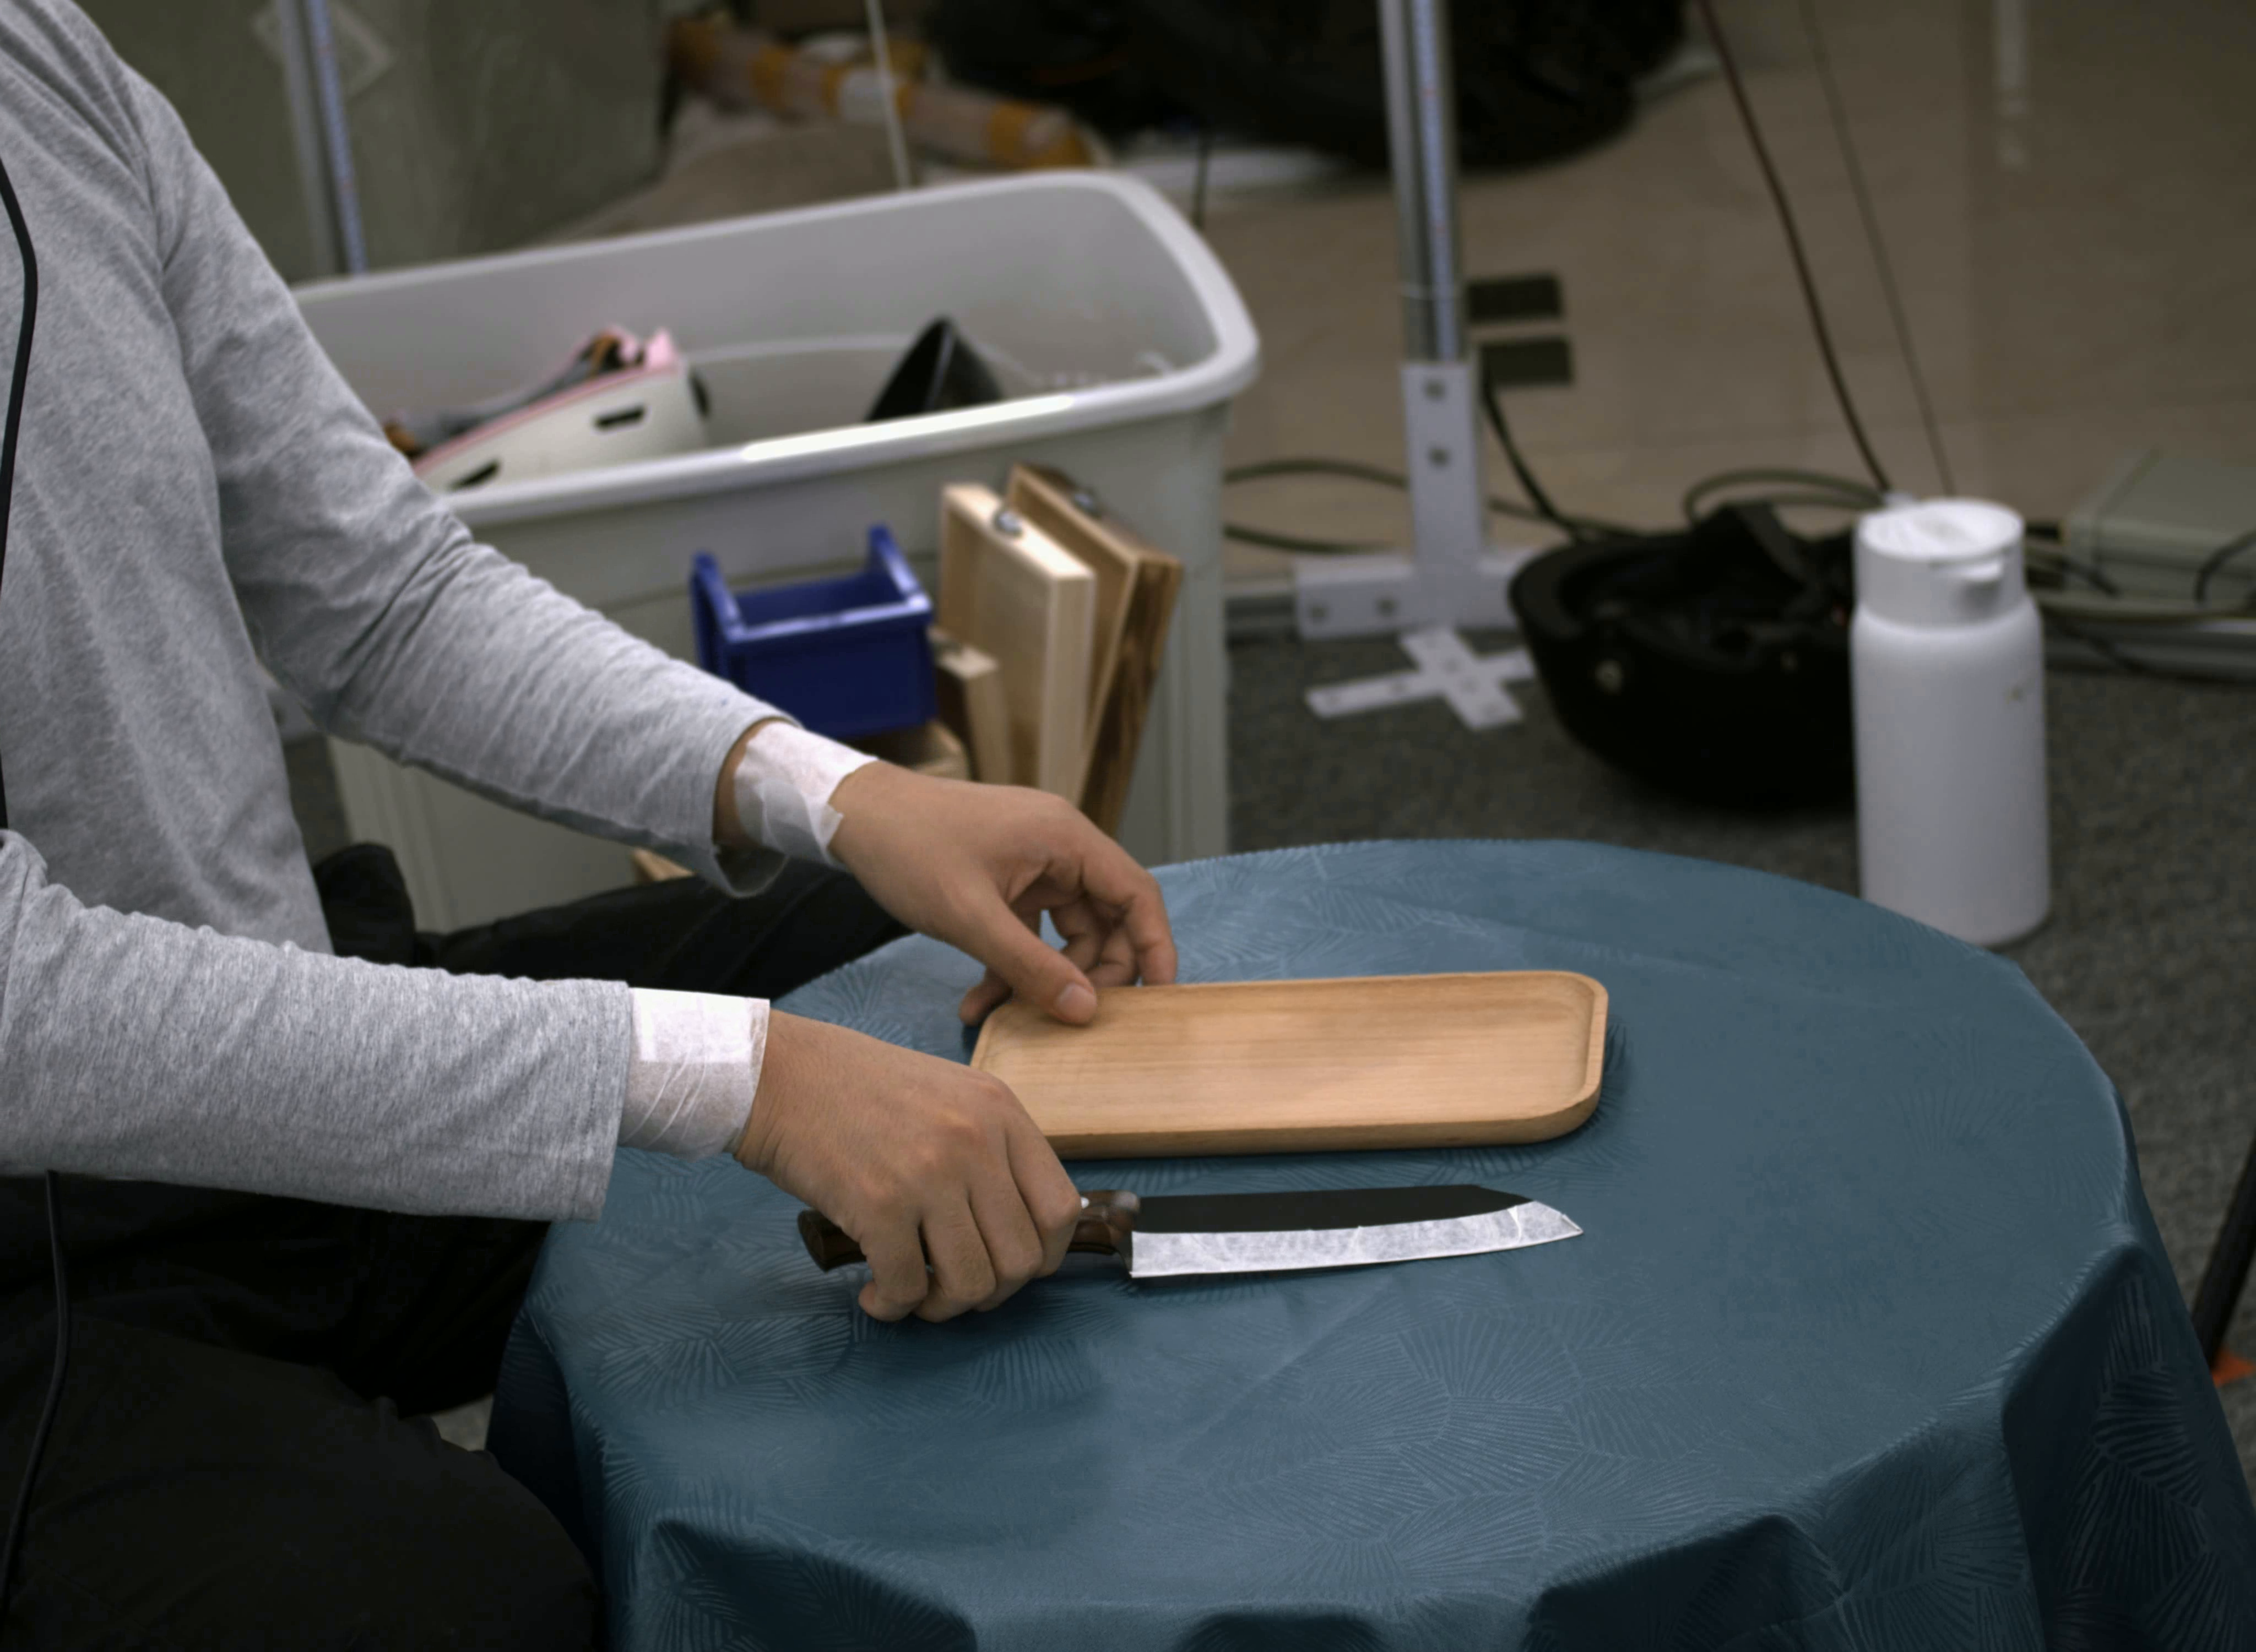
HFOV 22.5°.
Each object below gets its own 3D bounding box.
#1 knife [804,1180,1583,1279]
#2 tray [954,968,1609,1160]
[{"bbox_3d":[0.024,0.151,2.097,0.288,0.020,0.049,-2,38,3],"label":"knife"},{"bbox_3d":[0.061,0.094,2.216,0.250,0.023,0.129,-3,23,11],"label":"tray"}]
